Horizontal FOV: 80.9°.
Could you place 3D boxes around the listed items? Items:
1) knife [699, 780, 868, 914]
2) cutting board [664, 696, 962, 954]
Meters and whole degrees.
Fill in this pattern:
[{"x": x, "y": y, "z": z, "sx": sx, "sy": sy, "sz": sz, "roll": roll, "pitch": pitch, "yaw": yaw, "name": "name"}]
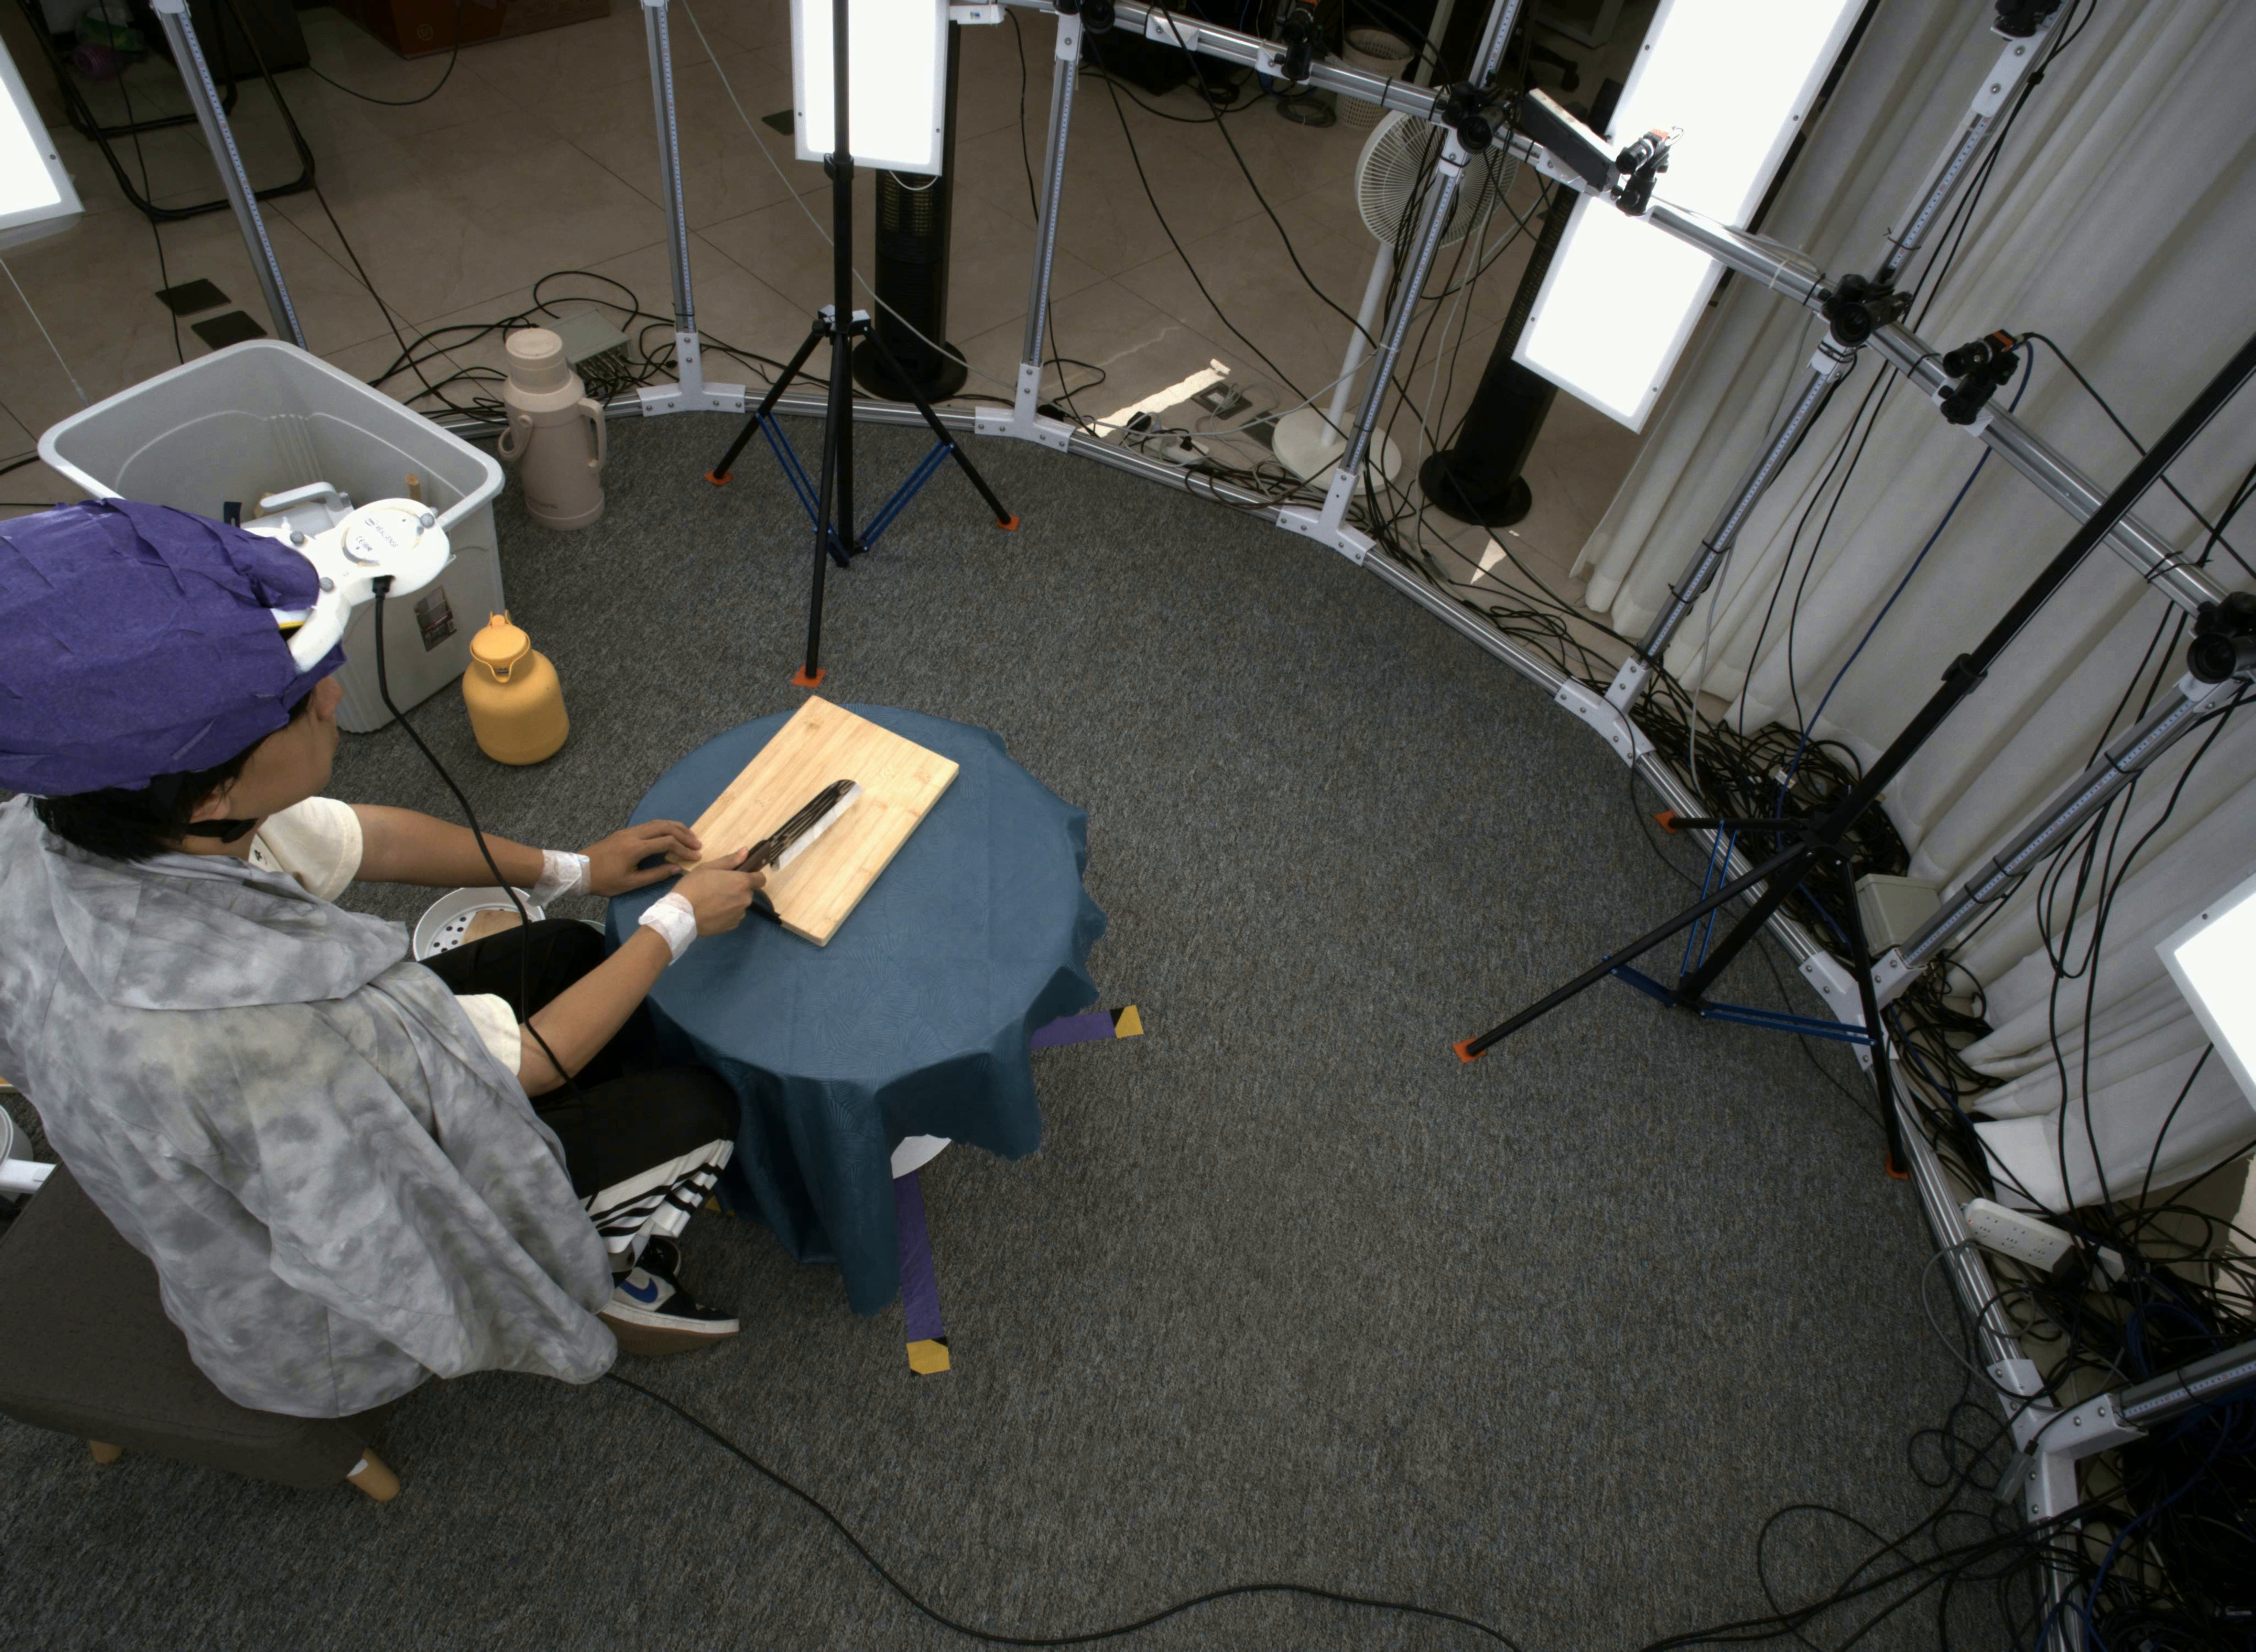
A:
[{"x": -0.427, "y": 0.025, "z": 1.637, "sx": 0.023, "sy": 0.070, "sz": 0.299, "roll": 26, "pitch": 49, "yaw": 19, "name": "knife"}, {"x": -0.410, "y": -0.013, "z": 1.729, "sx": 0.247, "sy": 0.024, "sz": 0.346, "roll": 26, "pitch": 52, "yaw": 6, "name": "cutting board"}]
